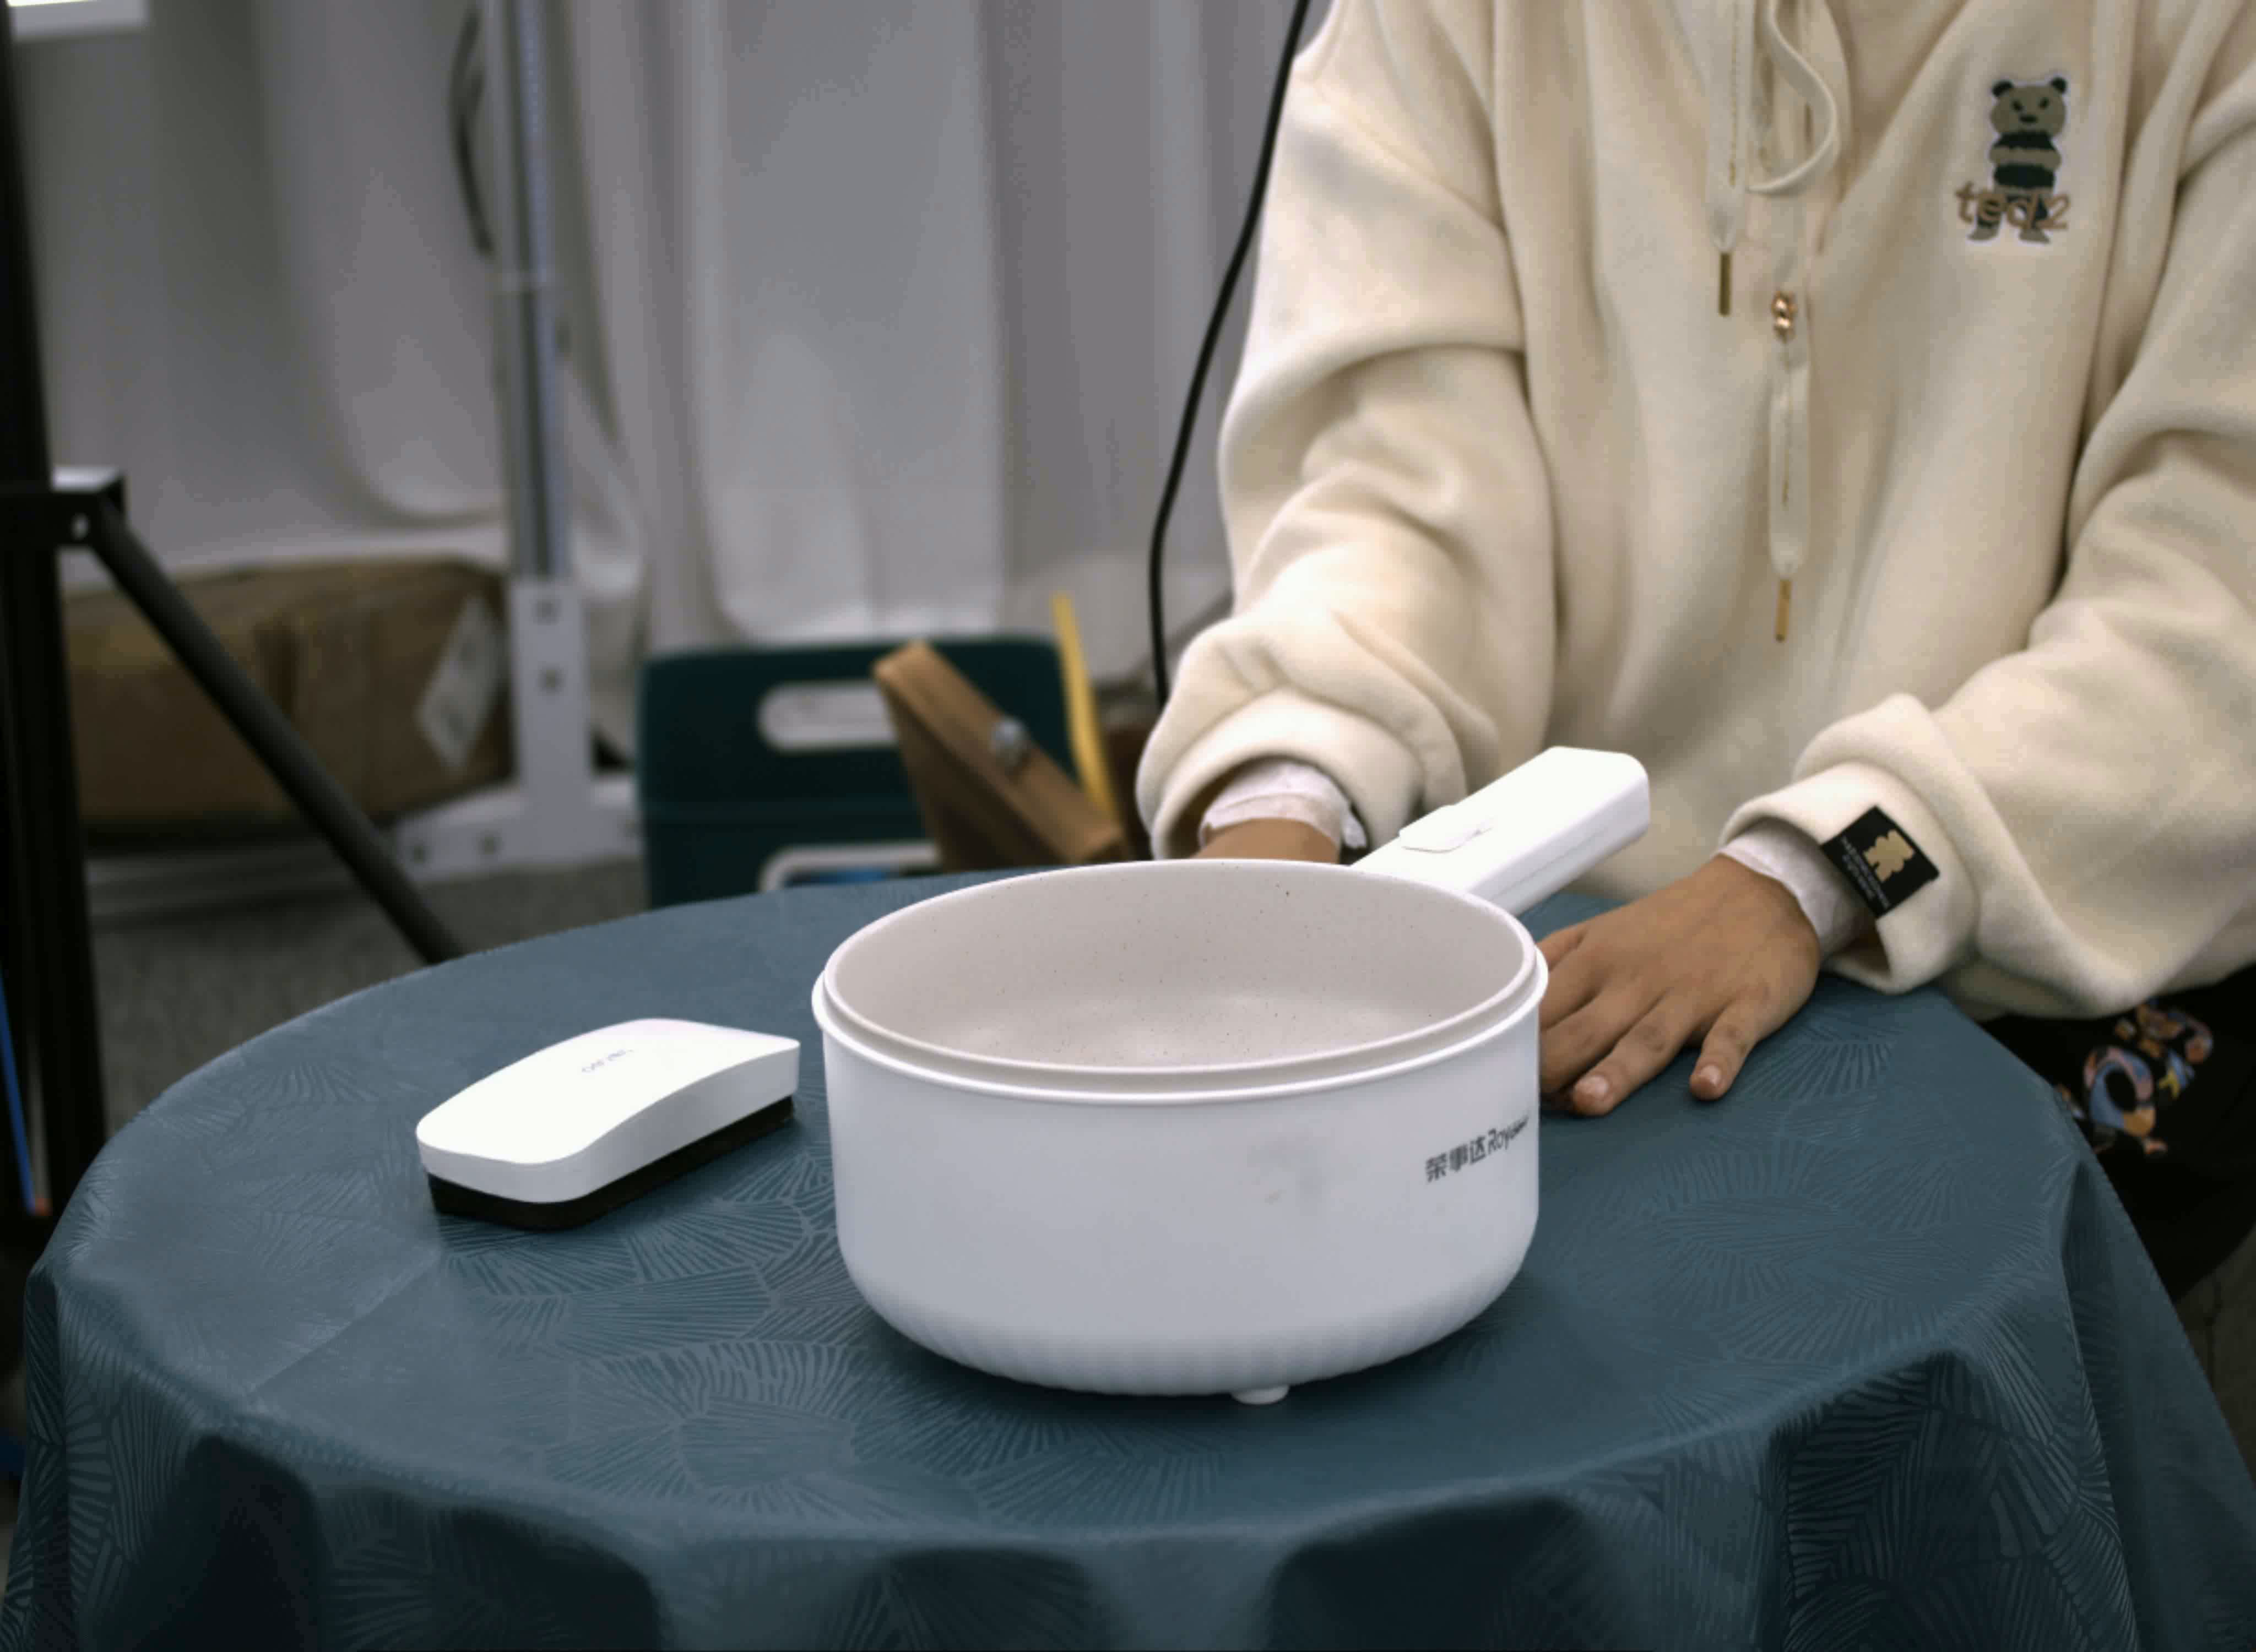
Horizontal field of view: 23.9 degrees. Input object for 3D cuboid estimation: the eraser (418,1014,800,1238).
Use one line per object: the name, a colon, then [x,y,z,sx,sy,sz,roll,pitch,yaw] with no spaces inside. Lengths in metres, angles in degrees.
eraser: [-0.153,0.087,1.604,0.064,0.034,0.129,10,20,32]

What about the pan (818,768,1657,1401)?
pan: [0.055,0.066,1.515,0.205,0.102,0.348,9,17,31]
